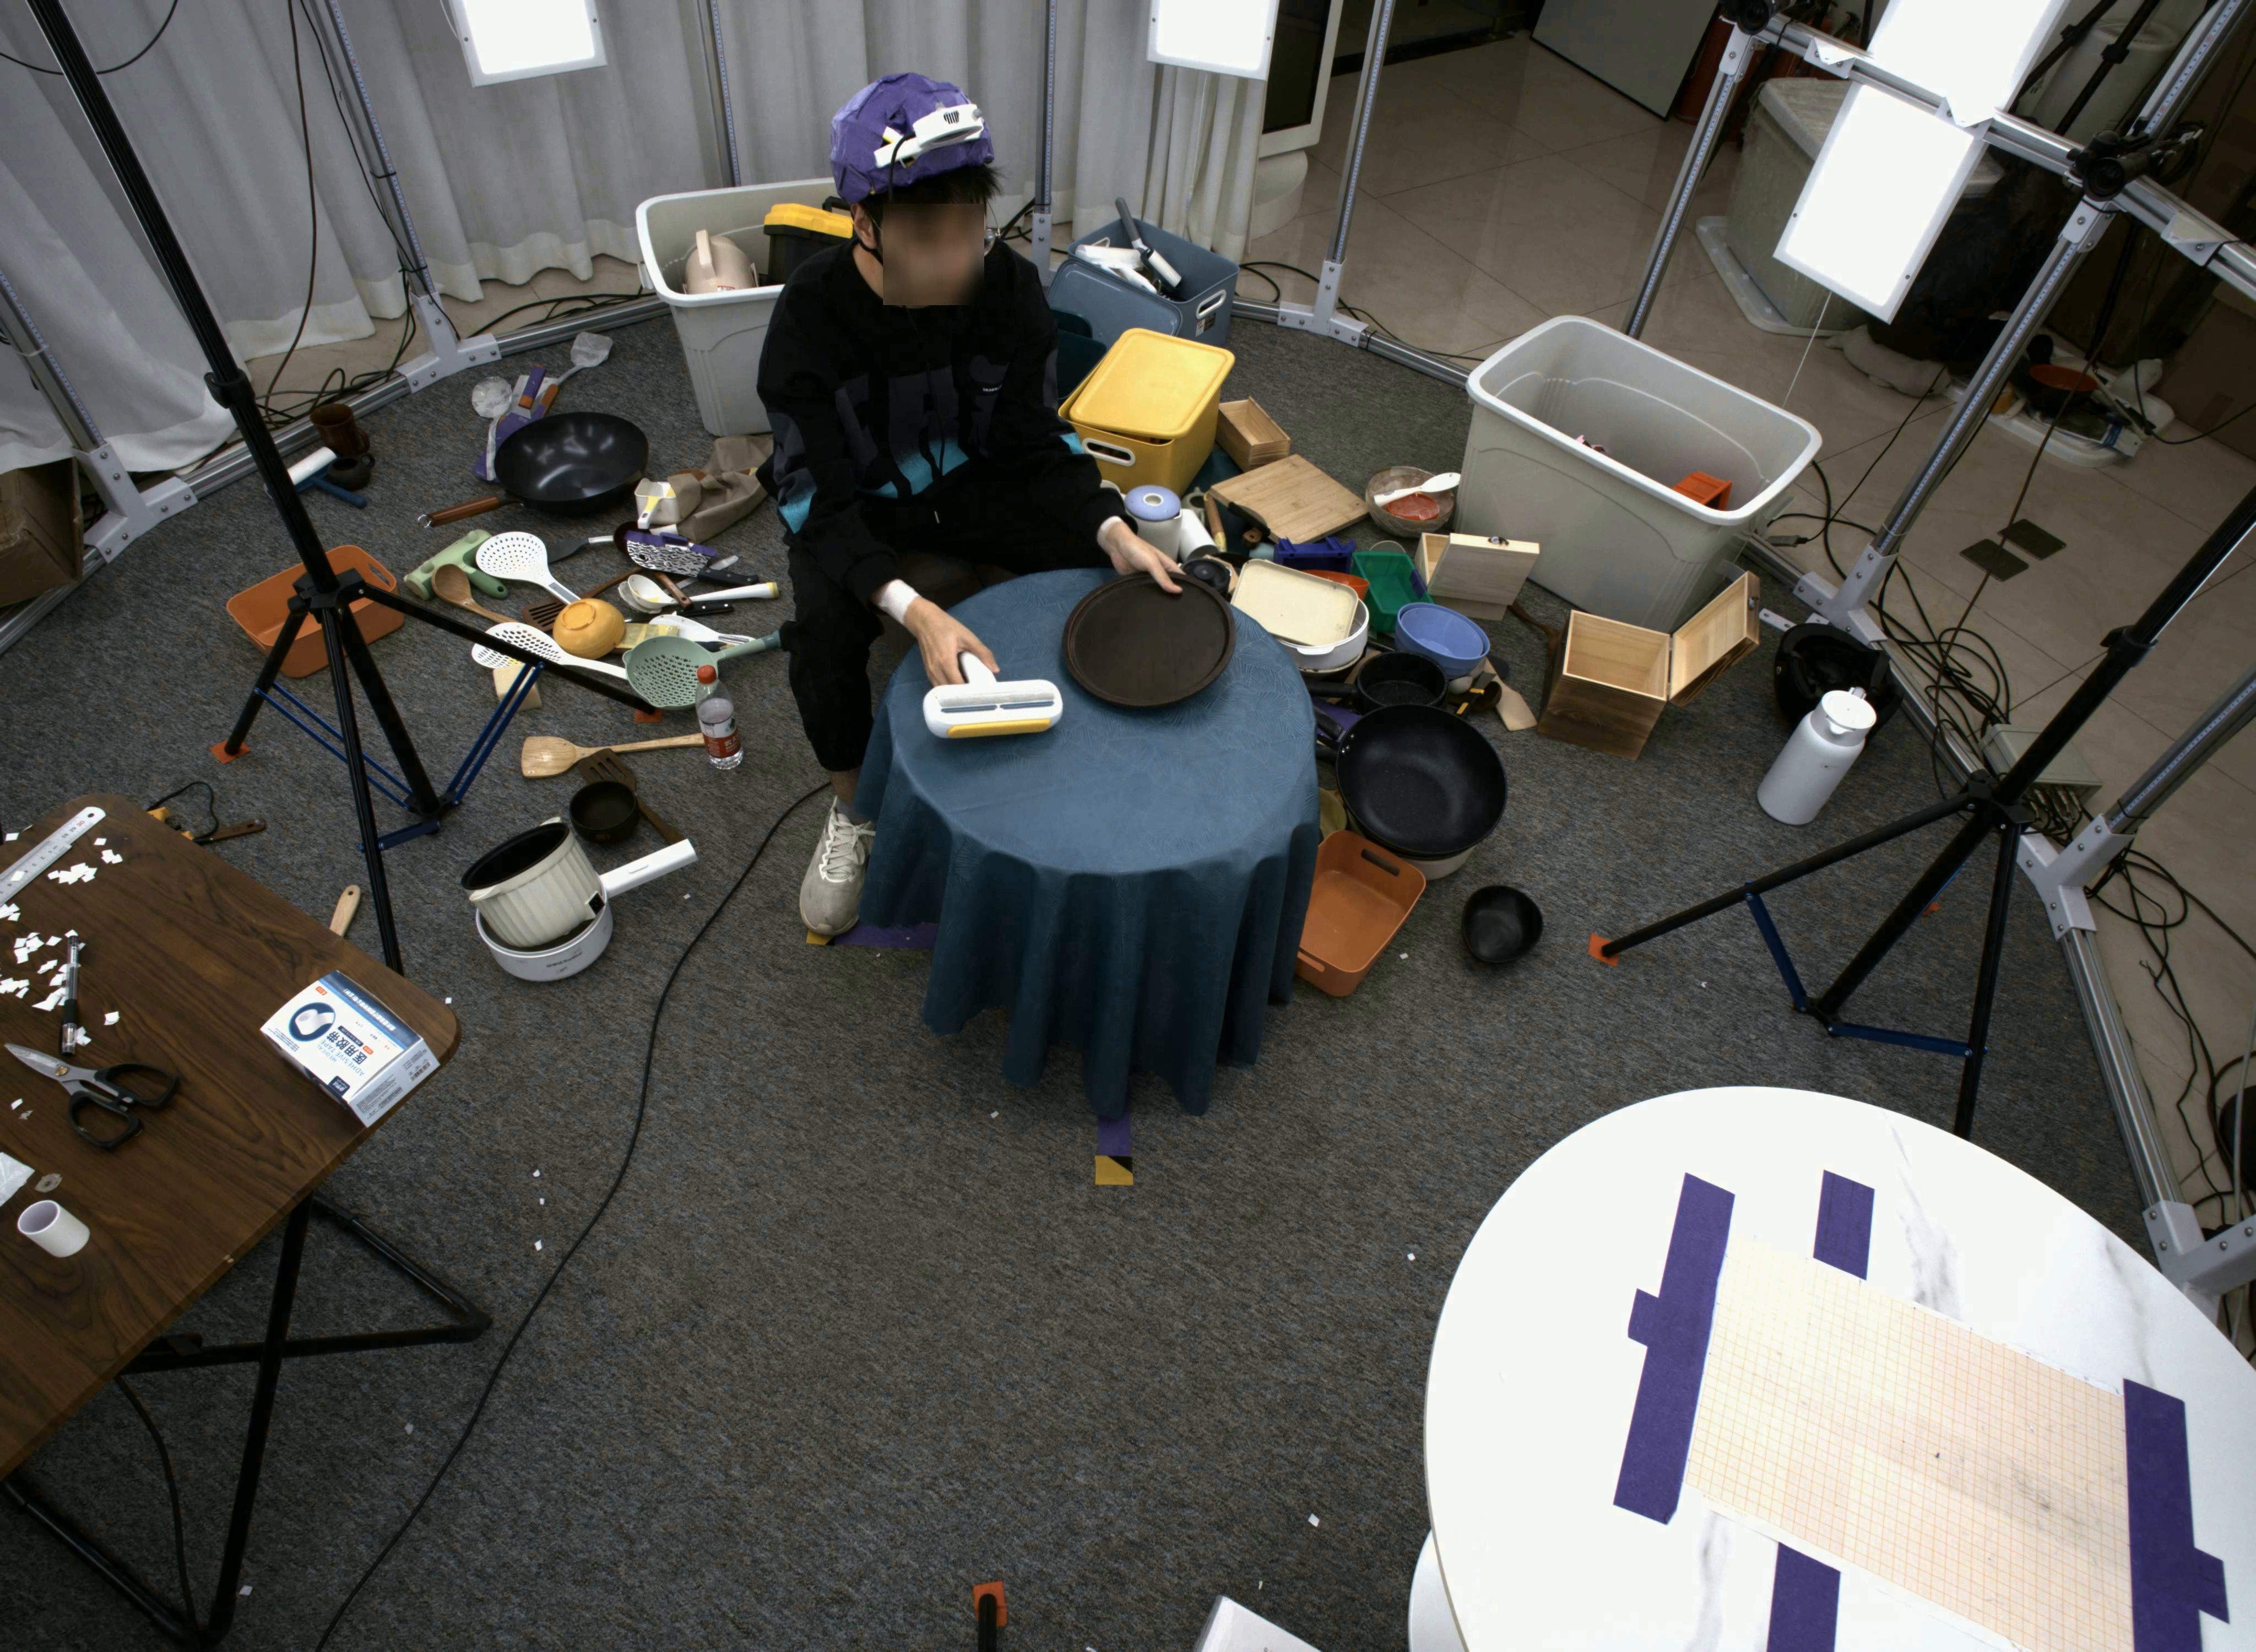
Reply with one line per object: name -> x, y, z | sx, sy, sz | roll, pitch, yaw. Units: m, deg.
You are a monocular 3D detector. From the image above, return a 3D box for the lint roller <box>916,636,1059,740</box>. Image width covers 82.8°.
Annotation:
lint roller -> -0.204, -0.201, 1.775 | 0.192, 0.072, 0.197 | -5, 56, -17

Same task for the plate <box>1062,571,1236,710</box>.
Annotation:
plate -> 0.030, -0.269, 1.860 | 0.255, 0.028, 0.261 | -4, 55, 6
